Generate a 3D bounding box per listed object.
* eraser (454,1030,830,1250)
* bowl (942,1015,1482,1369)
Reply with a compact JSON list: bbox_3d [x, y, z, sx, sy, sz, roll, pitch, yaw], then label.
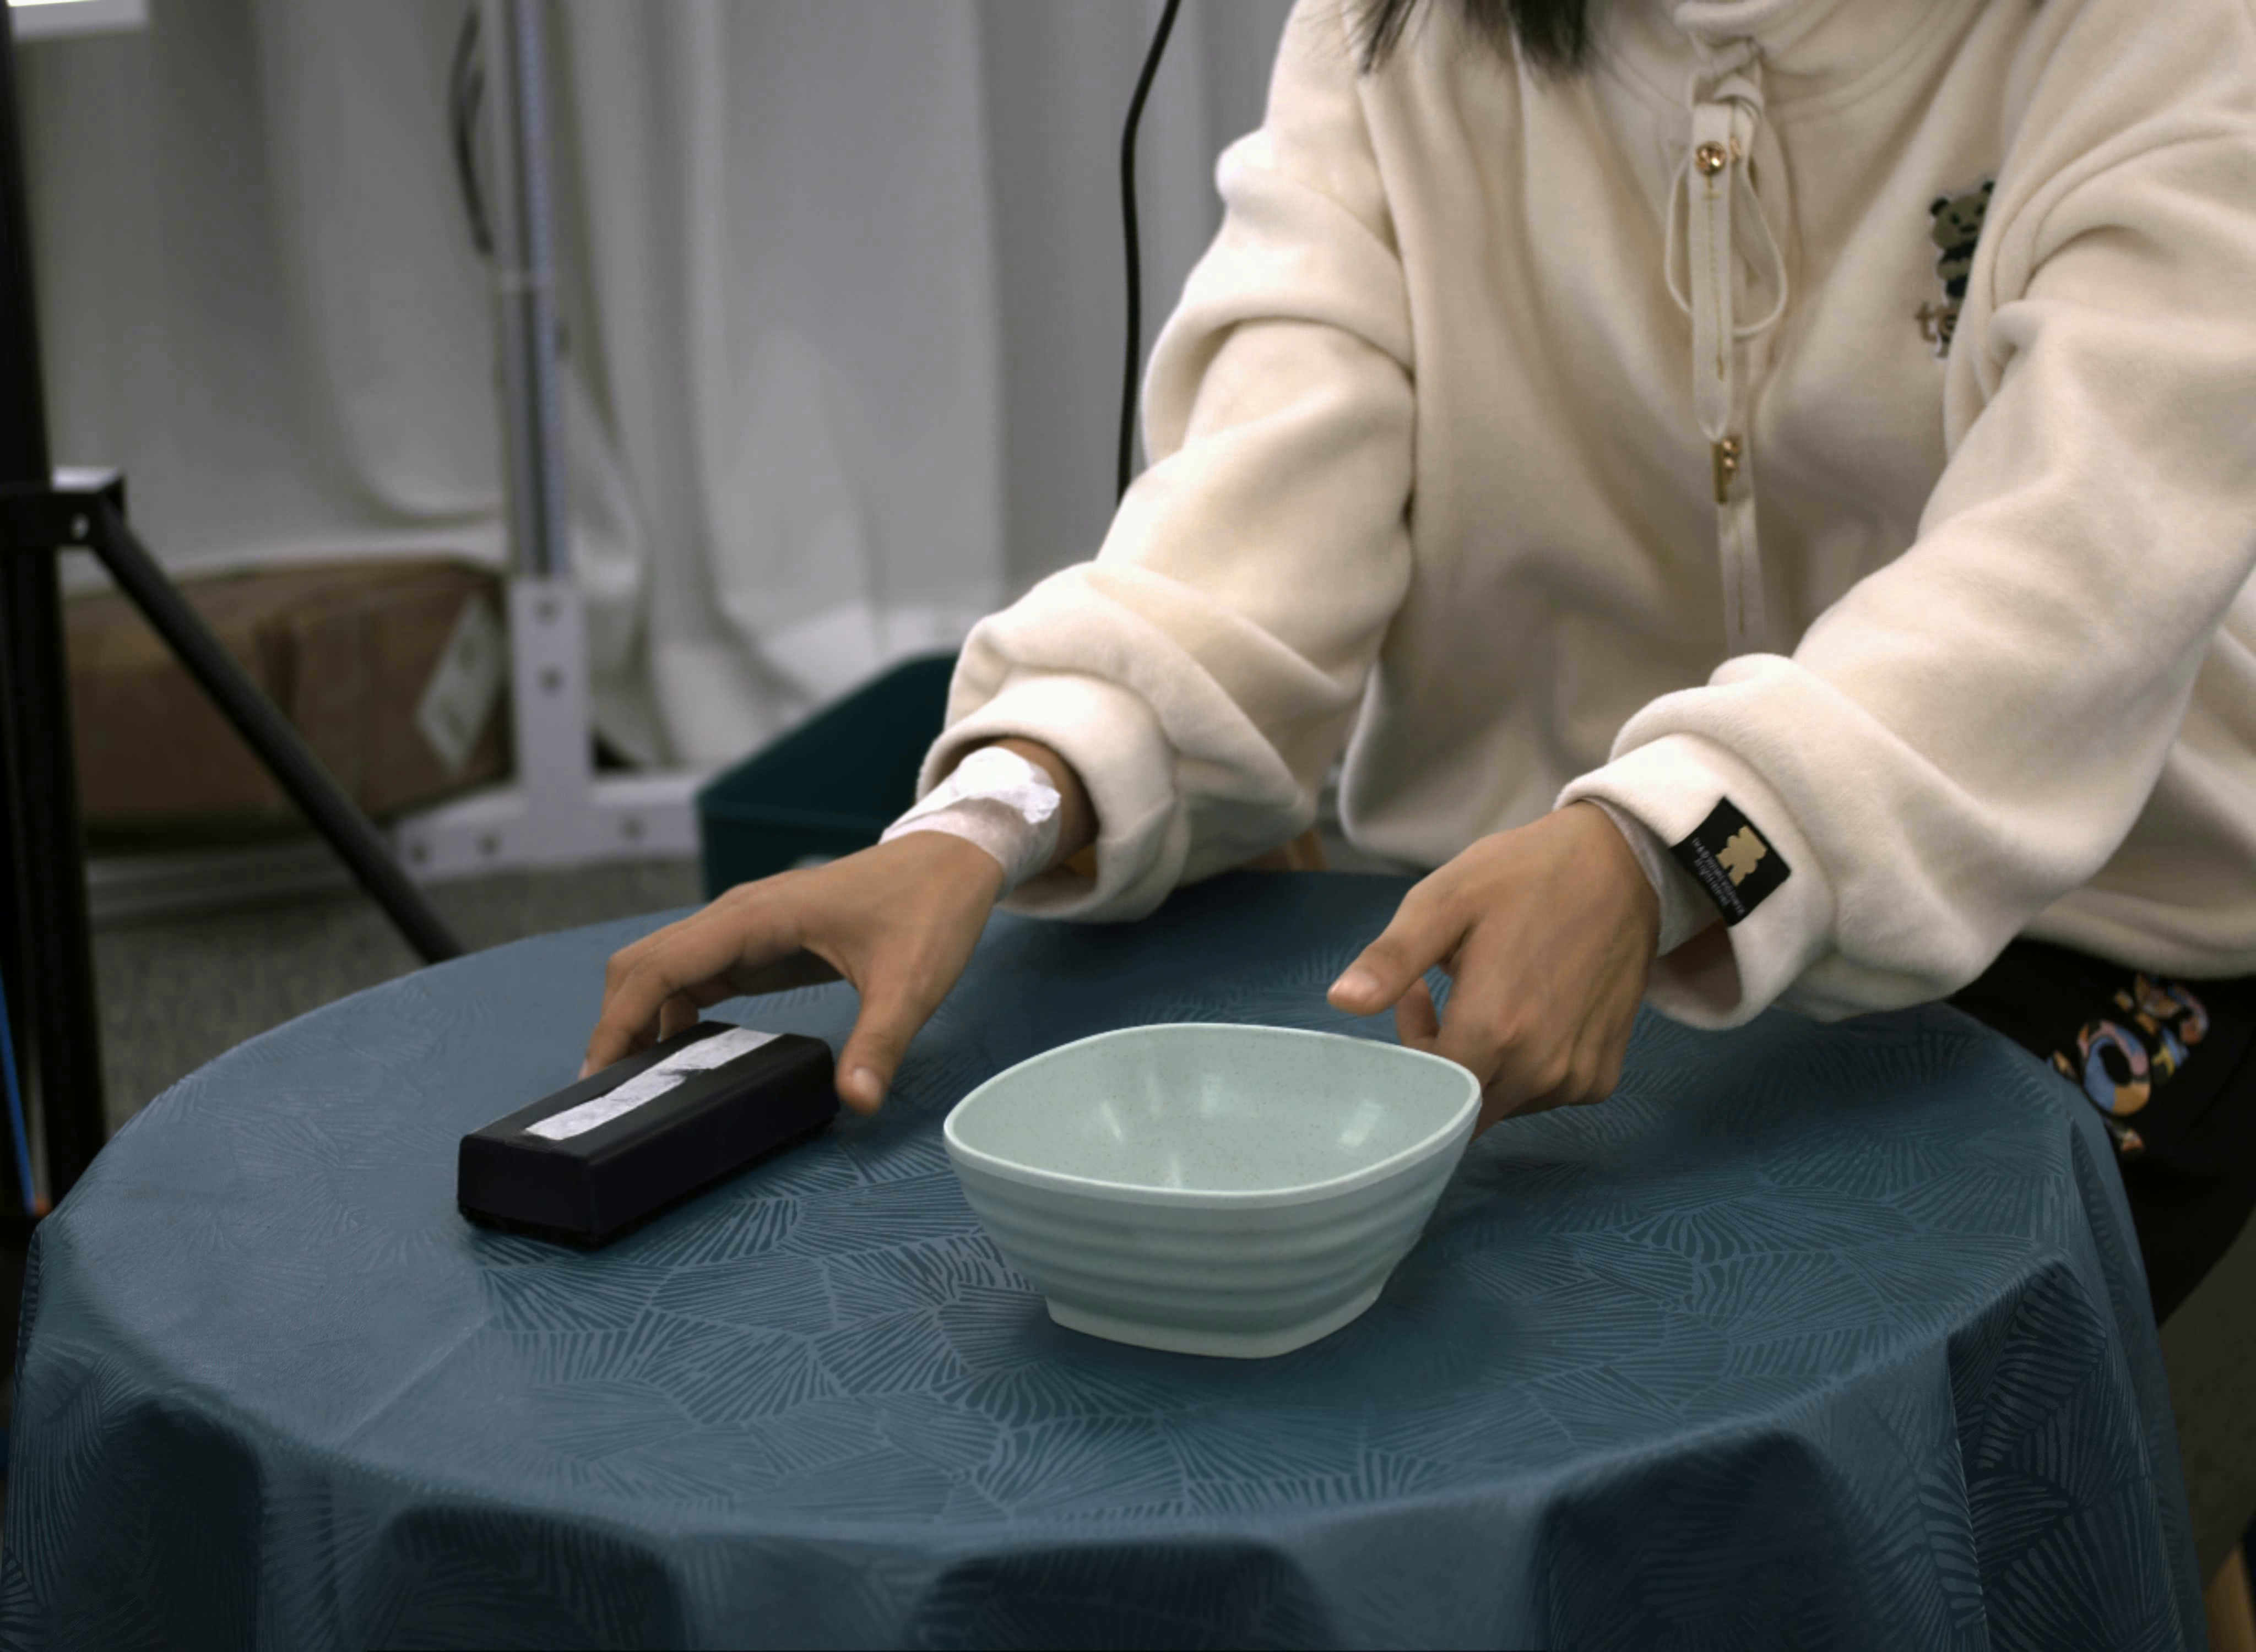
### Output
[{"bbox_3d":[-0.143,0.092,1.587,0.054,0.030,0.123,9,17,29],"label":"eraser"},{"bbox_3d":[0.023,0.104,1.463,0.150,0.058,0.152,0,17,-1],"label":"bowl"}]
